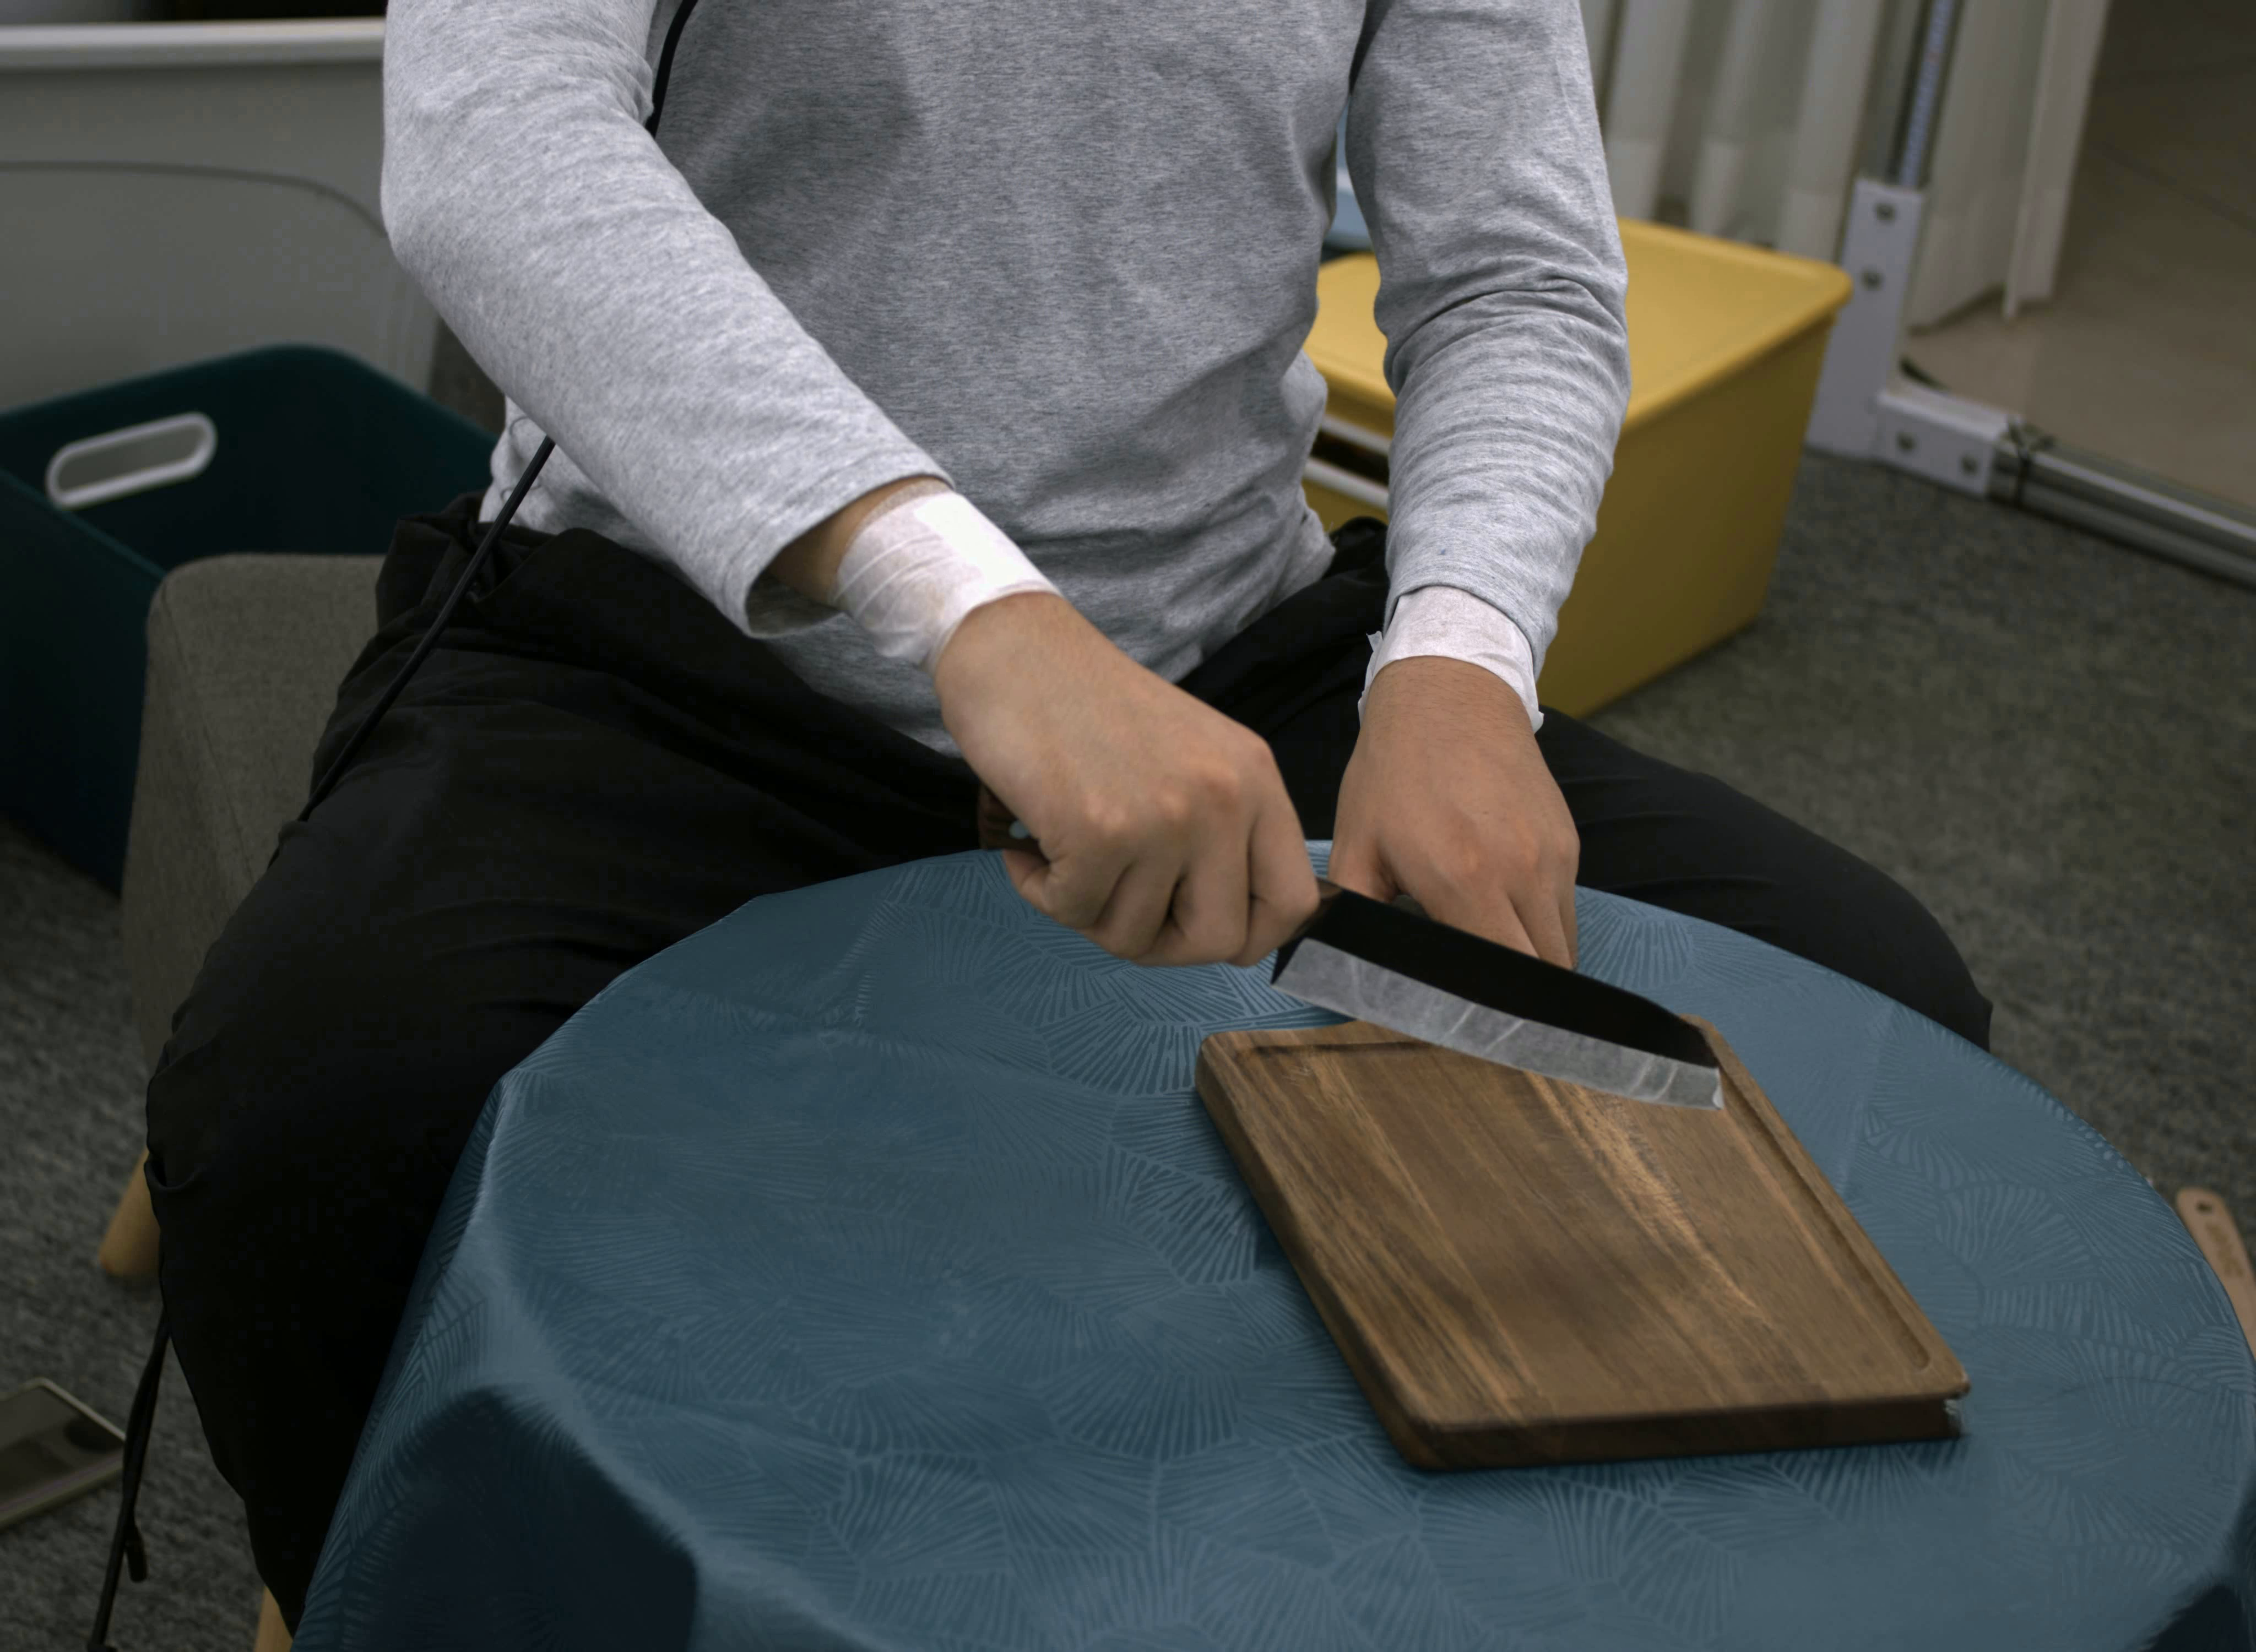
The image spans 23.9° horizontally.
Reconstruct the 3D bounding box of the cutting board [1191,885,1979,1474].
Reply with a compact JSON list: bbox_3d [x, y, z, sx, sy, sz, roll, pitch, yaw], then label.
[{"bbox_3d":[0.136,0.112,1.837,0.200,0.023,0.355,-1,28,-17],"label":"cutting board"}]

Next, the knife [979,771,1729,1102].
[{"bbox_3d":[0.076,0.039,1.736,0.287,0.050,0.020,22,29,-20],"label":"knife"}]
